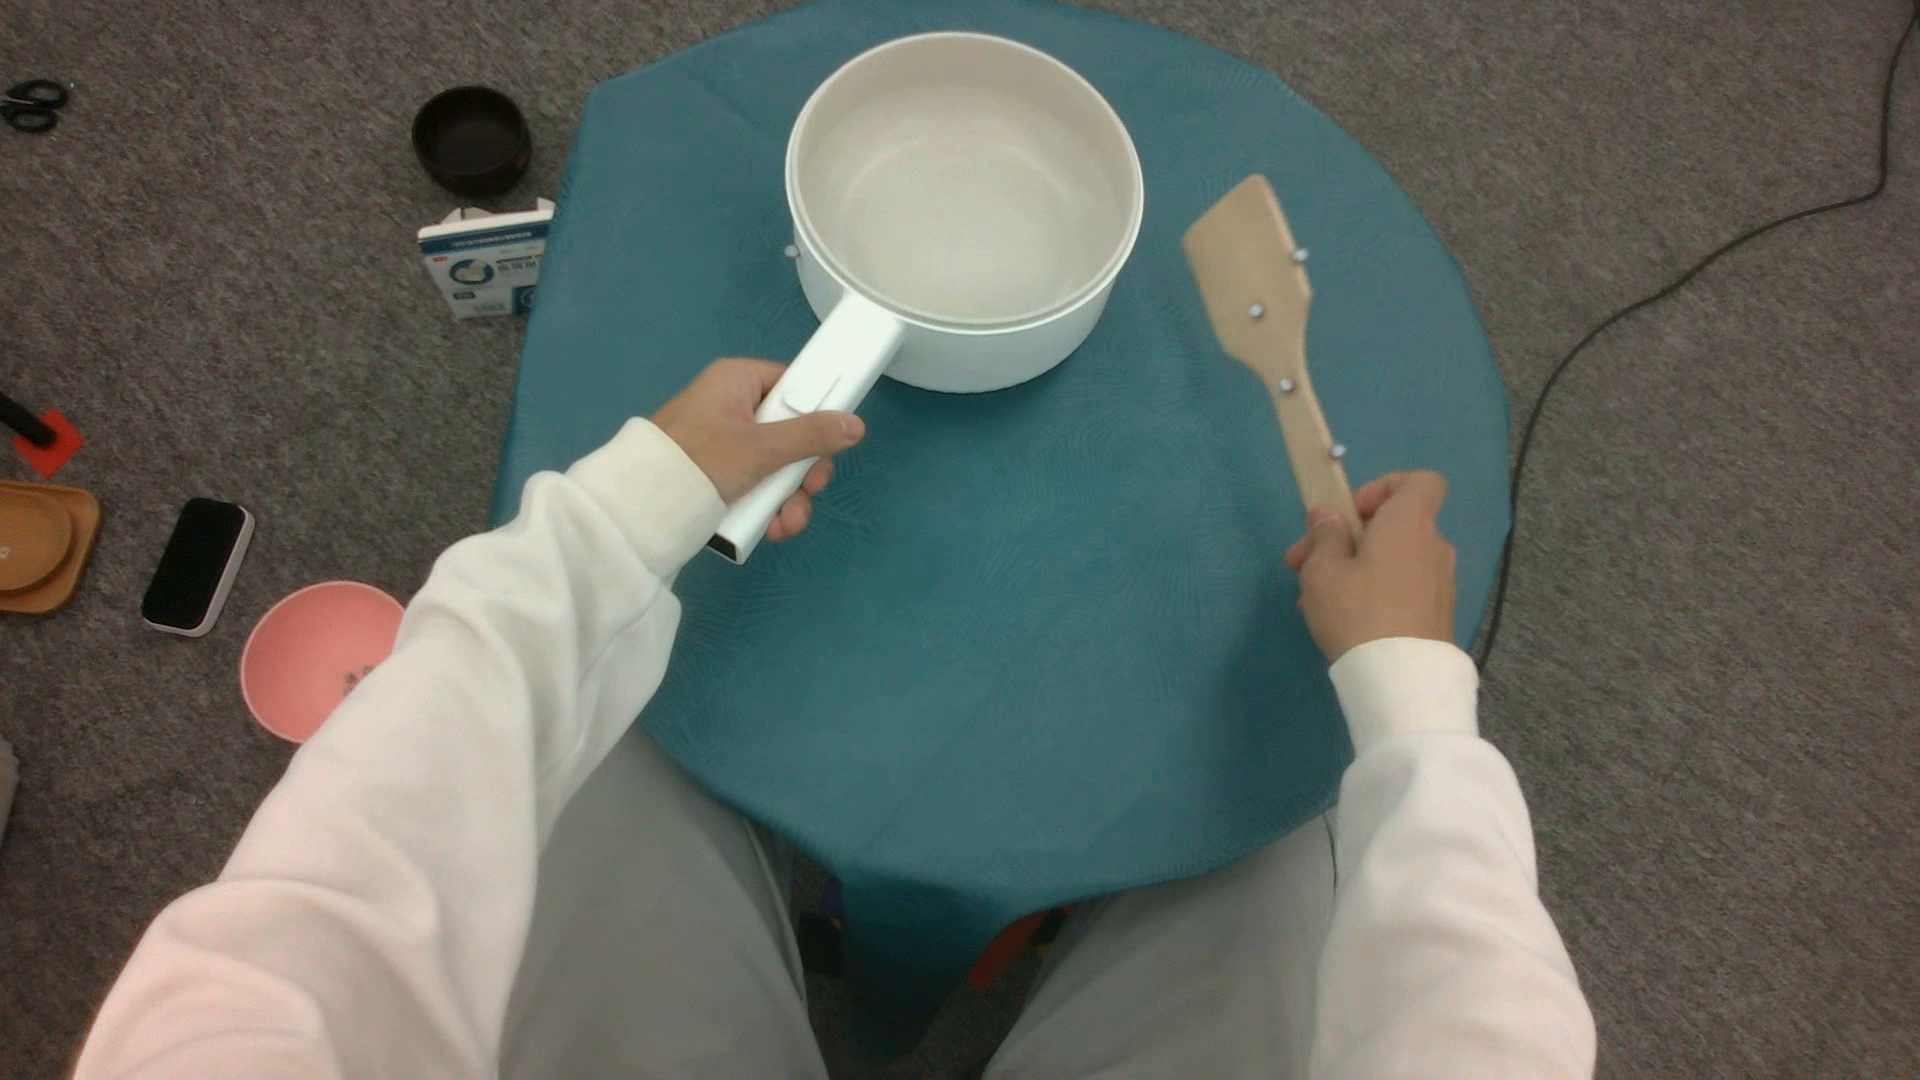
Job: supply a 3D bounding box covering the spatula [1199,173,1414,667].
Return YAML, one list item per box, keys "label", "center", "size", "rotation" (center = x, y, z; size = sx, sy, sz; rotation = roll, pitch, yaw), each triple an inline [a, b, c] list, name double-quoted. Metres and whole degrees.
- label: "spatula"
  center: [0.200, -0.069, 0.776]
  size: [0.011, 0.072, 0.293]
  rotation: [1, 66, -36]

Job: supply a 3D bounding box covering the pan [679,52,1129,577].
- label: "pan"
  center: [-0.042, -0.119, 0.793]
  size: [0.201, 0.101, 0.356]
  rotation: [28, 67, 7]
